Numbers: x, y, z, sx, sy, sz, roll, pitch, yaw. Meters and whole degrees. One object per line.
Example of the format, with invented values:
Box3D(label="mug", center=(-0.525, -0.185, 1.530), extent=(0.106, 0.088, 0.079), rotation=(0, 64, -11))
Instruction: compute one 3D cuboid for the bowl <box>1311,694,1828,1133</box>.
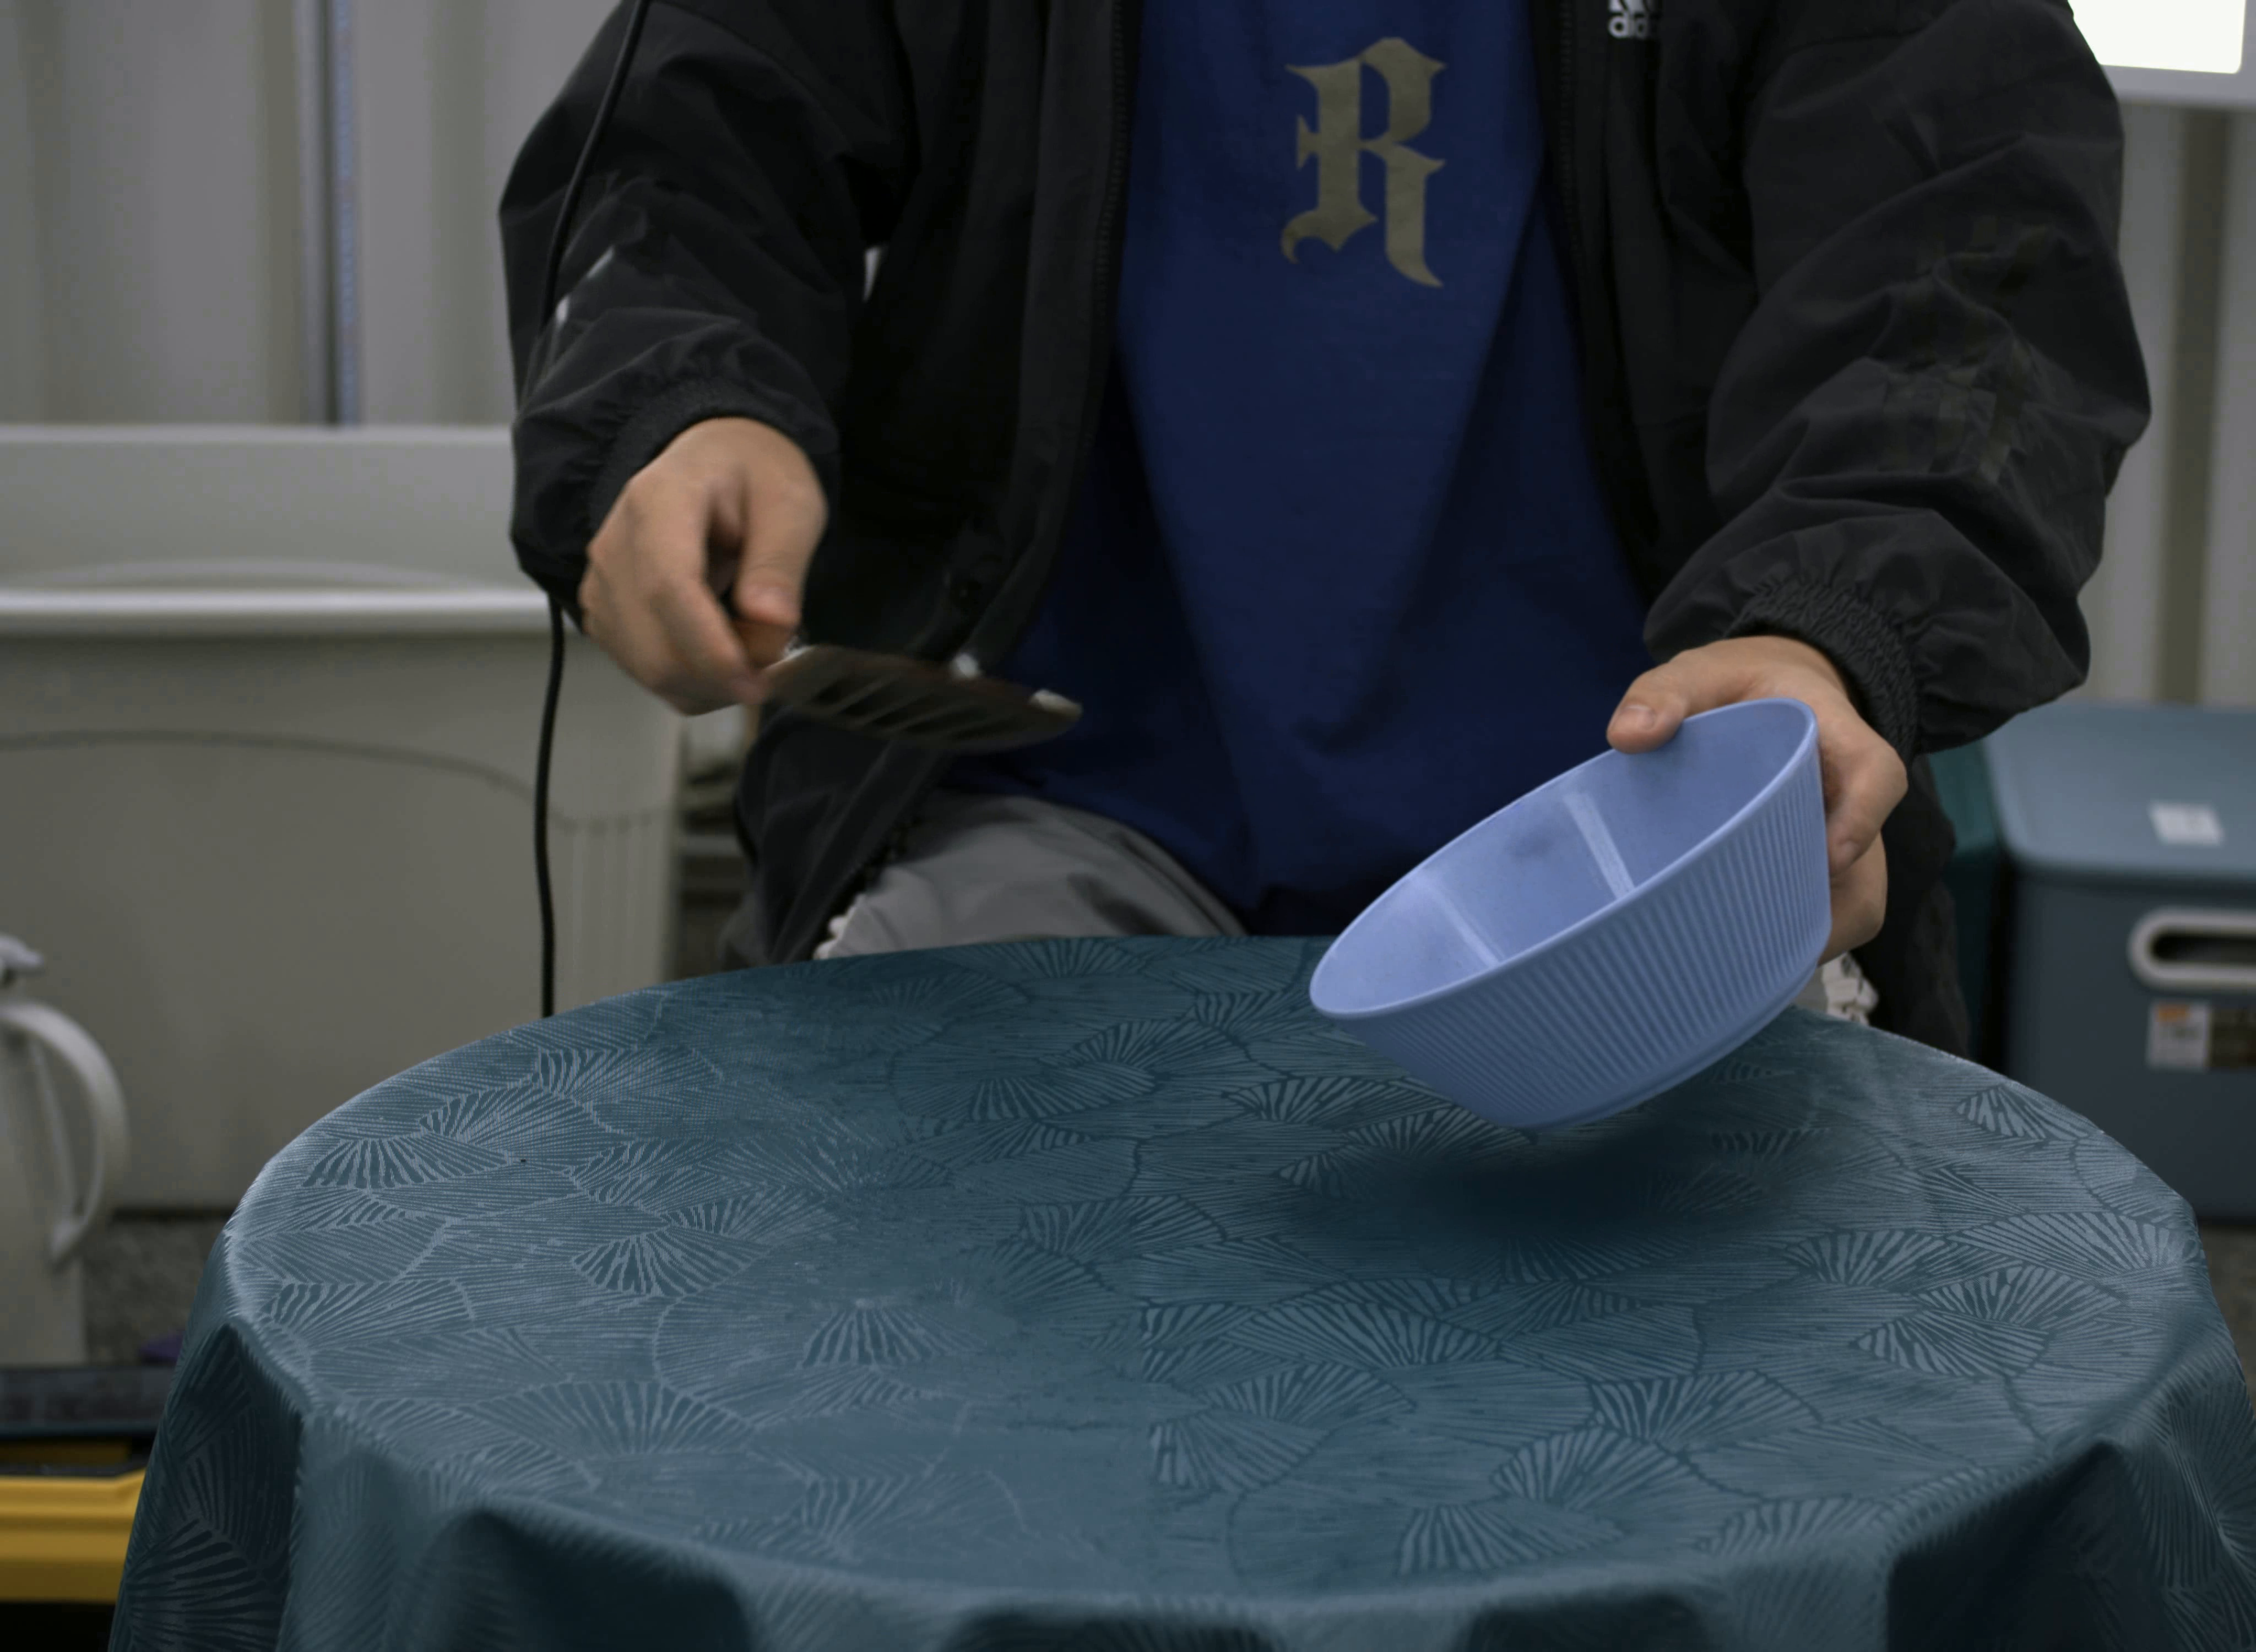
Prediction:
Box3D(label="bowl", center=(0.146, 0.035, 1.605), extent=(0.175, 0.071, 0.175), rotation=(-30, 12, 8))

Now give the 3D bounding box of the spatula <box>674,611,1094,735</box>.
Box3D(label="spatula", center=(-0.100, -0.053, 1.694), extent=(0.086, 0.024, 0.384), rotation=(14, 0, -17))
